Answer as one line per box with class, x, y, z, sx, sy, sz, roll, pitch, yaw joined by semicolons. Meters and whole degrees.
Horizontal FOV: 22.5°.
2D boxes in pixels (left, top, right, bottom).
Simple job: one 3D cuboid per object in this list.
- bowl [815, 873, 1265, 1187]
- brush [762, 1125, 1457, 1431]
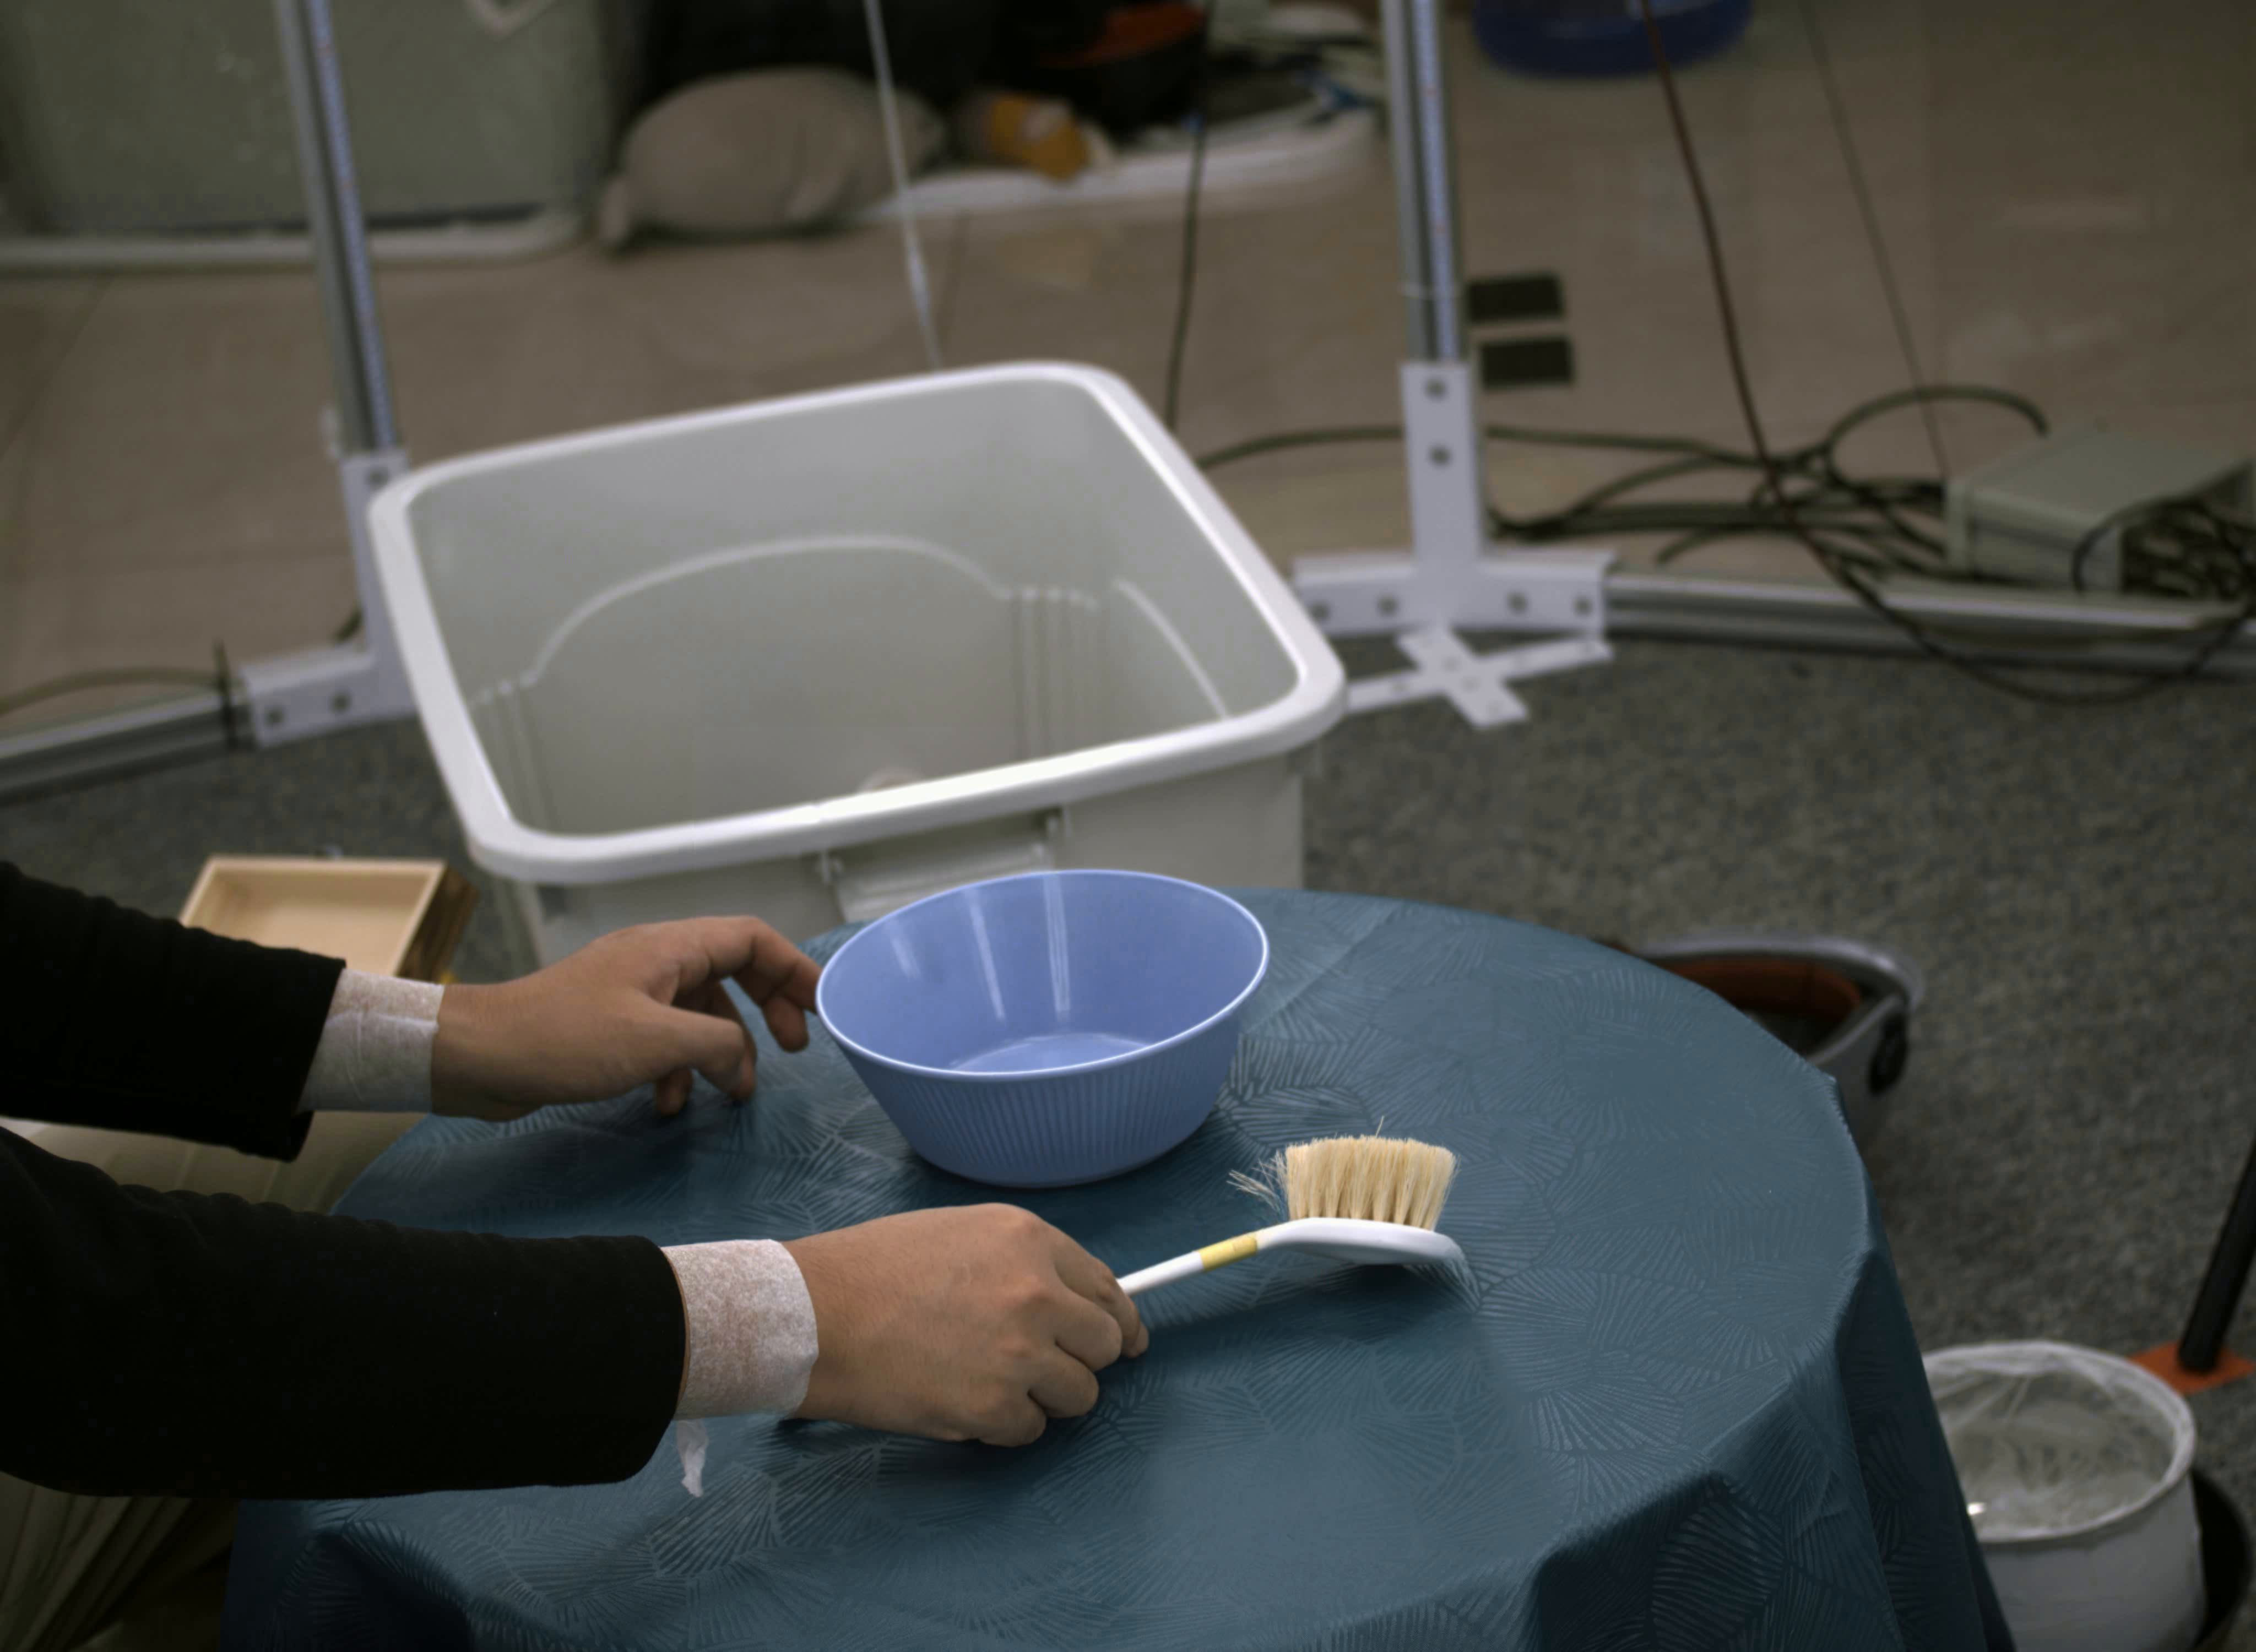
bowl;-0.030;0.084;2.187;0.176;0.071;0.173;-6;24;3
brush;-0.008;0.158;2.032;0.266;0.056;0.069;-14;-12;-9
